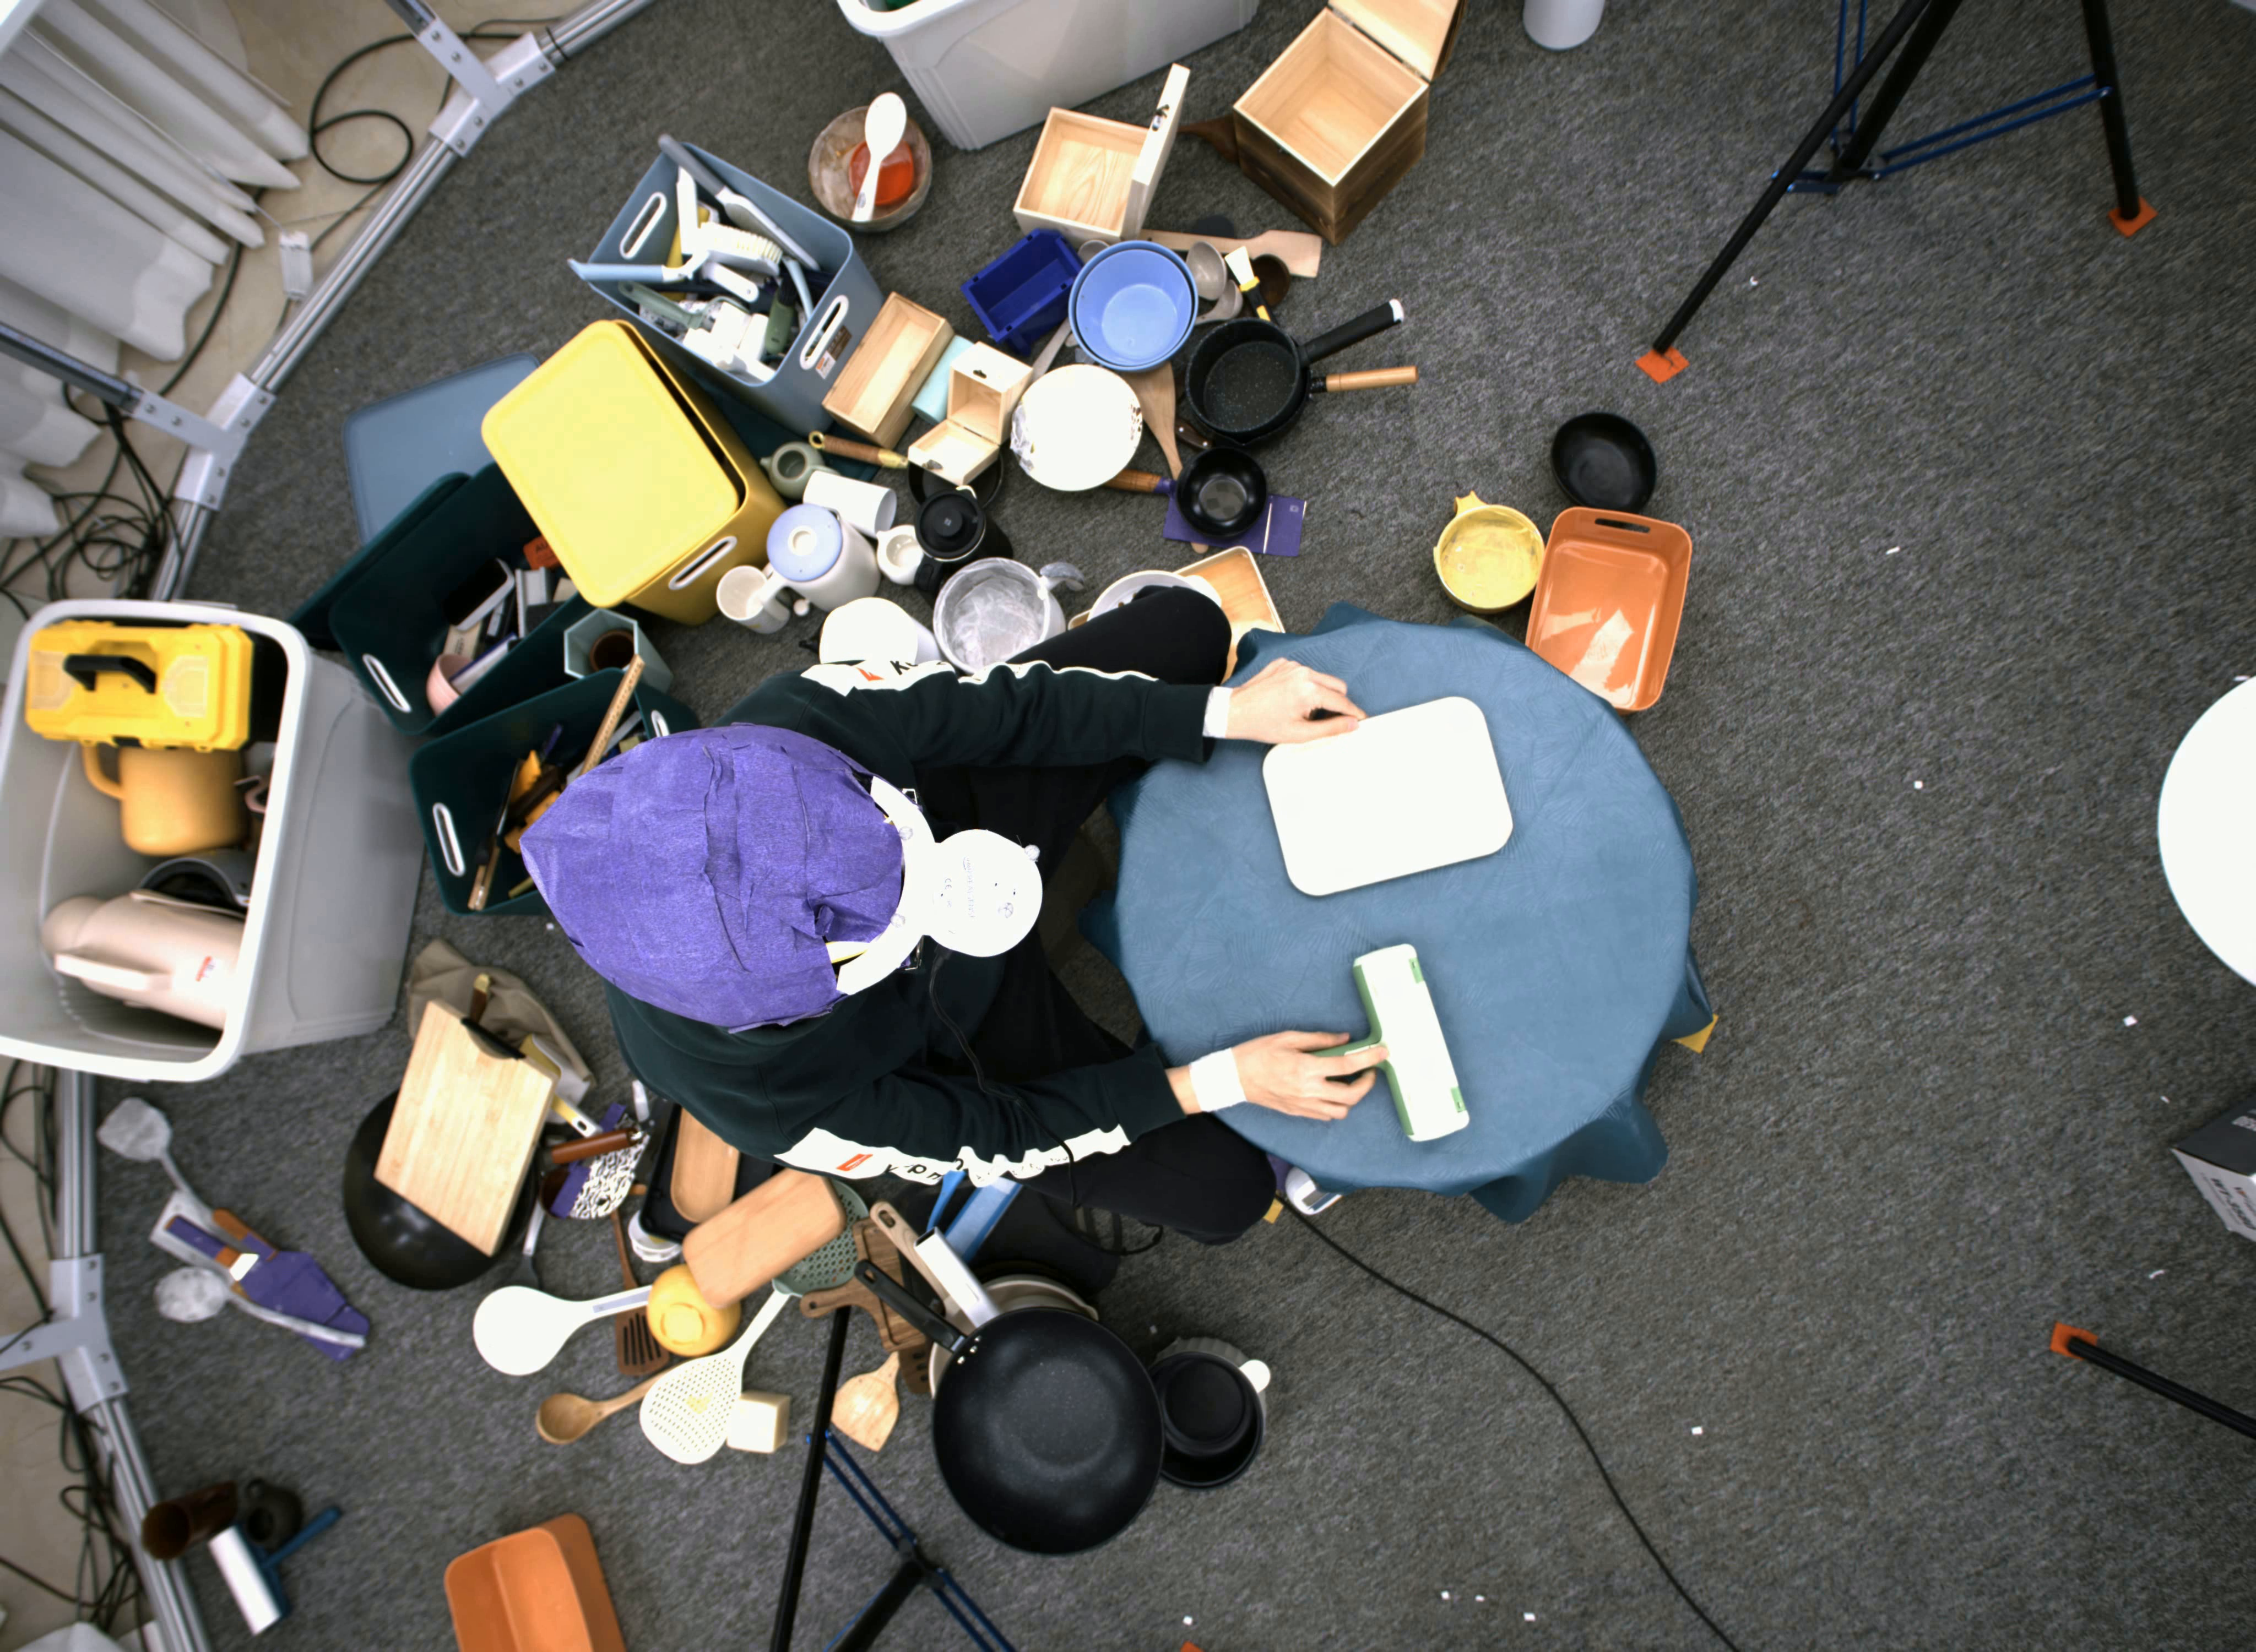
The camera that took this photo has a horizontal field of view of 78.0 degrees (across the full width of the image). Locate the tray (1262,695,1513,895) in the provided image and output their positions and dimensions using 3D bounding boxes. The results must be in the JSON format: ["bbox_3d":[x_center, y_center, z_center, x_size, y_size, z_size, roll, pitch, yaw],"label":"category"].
[{"bbox_3d":[0.272,-0.033,1.448,0.241,0.017,0.170,-15,87,9],"label":"tray"}]

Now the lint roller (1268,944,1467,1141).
[{"bbox_3d":[0.231,0.235,1.415,0.184,0.082,0.197,-17,84,4],"label":"lint roller"}]
